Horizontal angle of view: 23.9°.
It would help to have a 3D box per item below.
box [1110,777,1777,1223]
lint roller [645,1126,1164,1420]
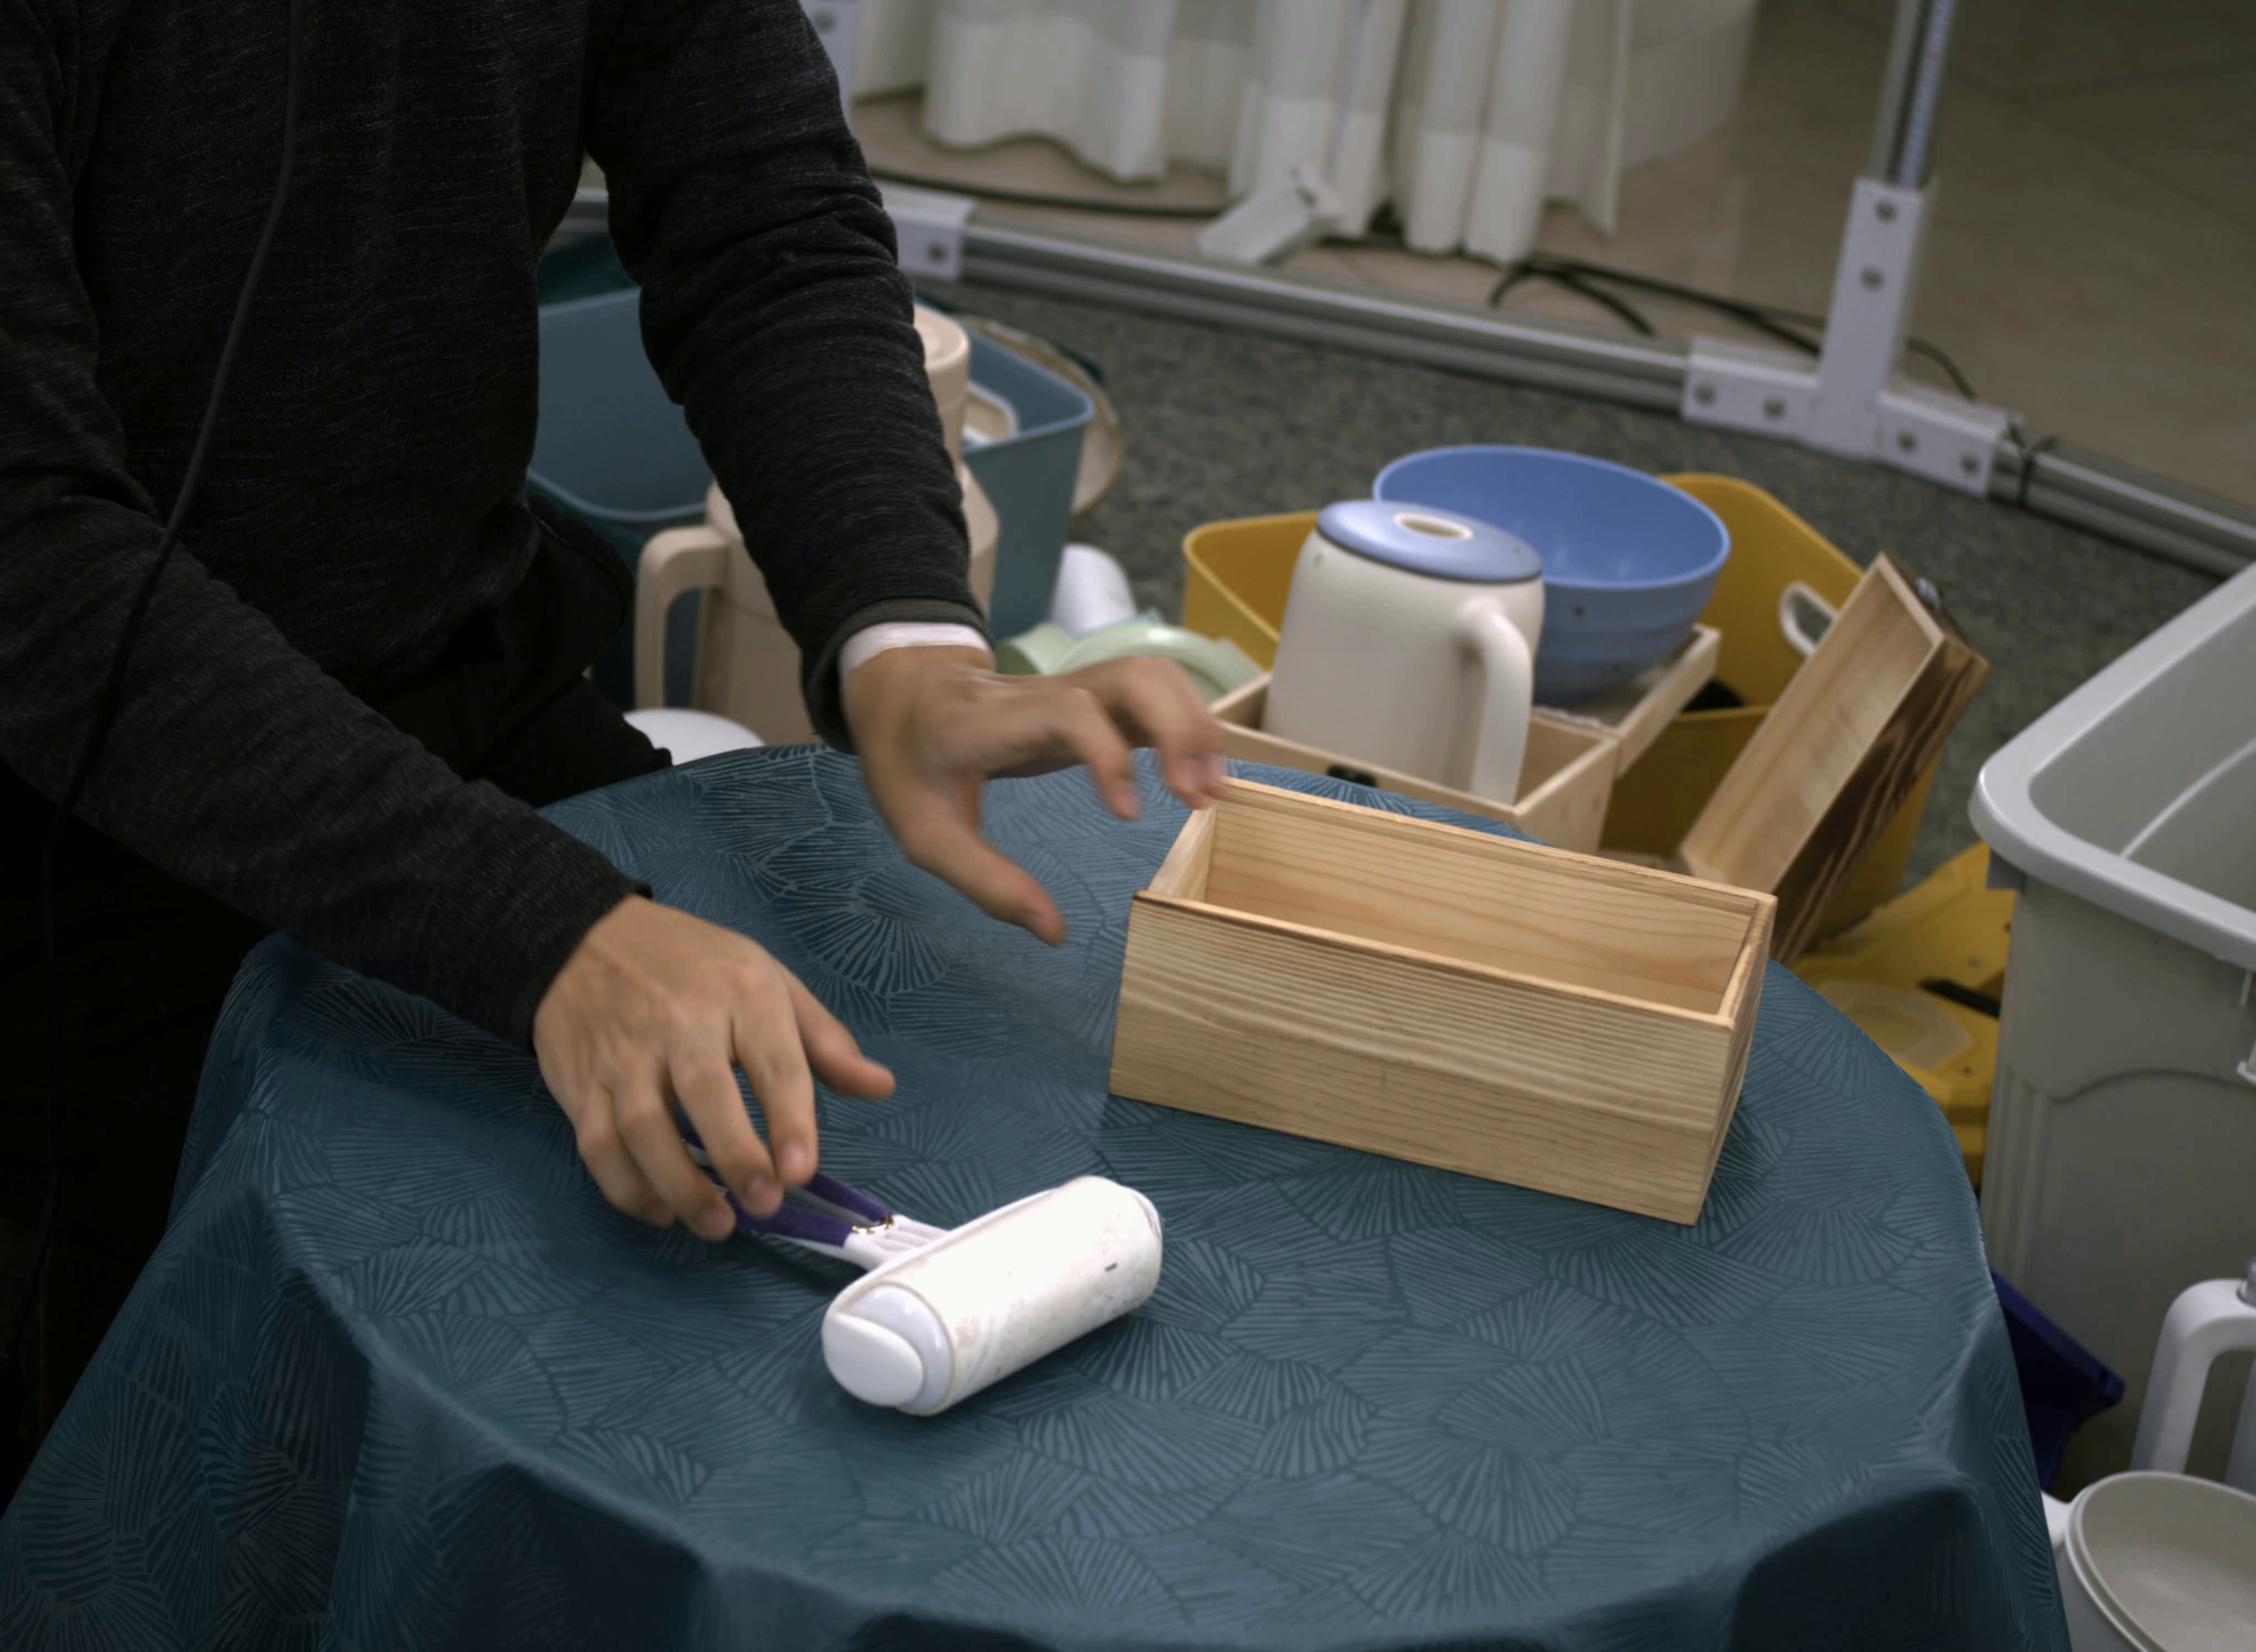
[{"bbox_3d":[0.111,0.059,1.865,0.211,0.080,0.108,11,27,11],"label":"box"},{"bbox_3d":[-0.087,0.124,1.730,0.182,0.050,0.132,29,35,34],"label":"lint roller"}]
